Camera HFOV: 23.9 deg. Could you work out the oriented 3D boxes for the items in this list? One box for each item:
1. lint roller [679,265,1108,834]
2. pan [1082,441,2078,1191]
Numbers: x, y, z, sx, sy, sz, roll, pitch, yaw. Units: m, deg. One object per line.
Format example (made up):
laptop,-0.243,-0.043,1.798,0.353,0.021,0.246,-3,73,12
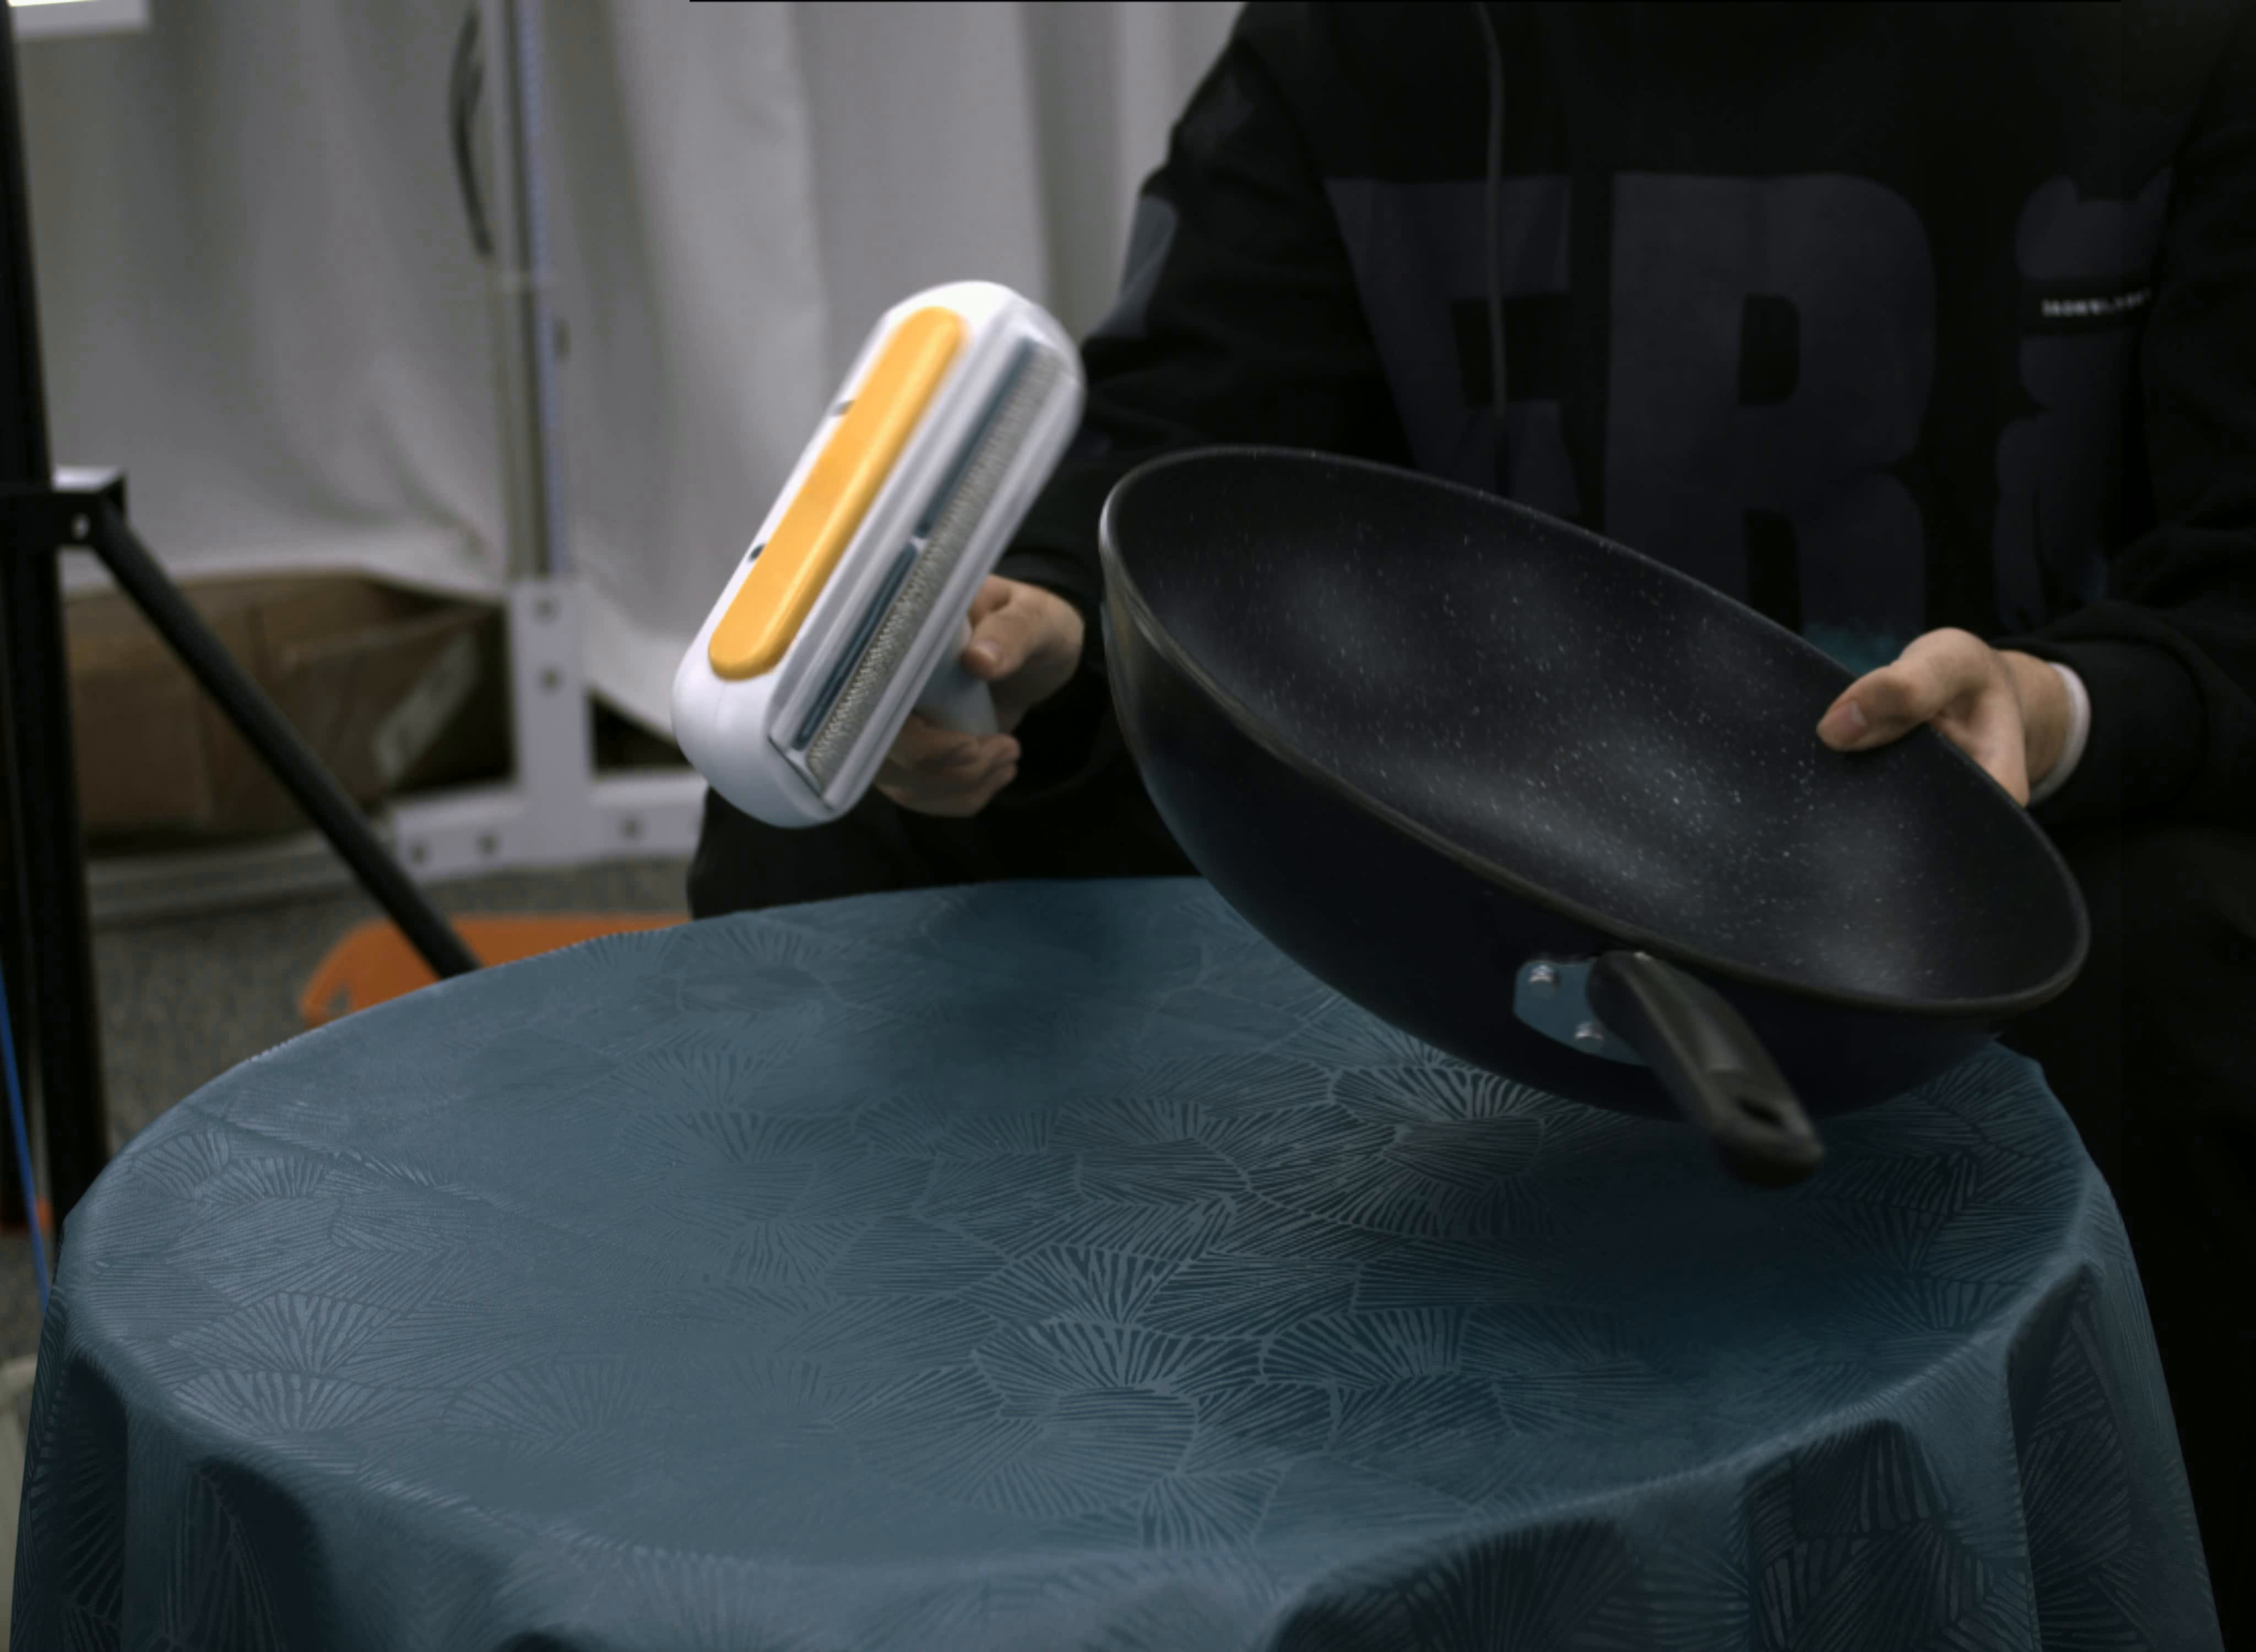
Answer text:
lint roller,-0.066,-0.061,1.748,0.075,0.189,0.192,16,61,28
pan,0.123,0.024,1.456,0.307,0.112,0.480,19,22,-8
